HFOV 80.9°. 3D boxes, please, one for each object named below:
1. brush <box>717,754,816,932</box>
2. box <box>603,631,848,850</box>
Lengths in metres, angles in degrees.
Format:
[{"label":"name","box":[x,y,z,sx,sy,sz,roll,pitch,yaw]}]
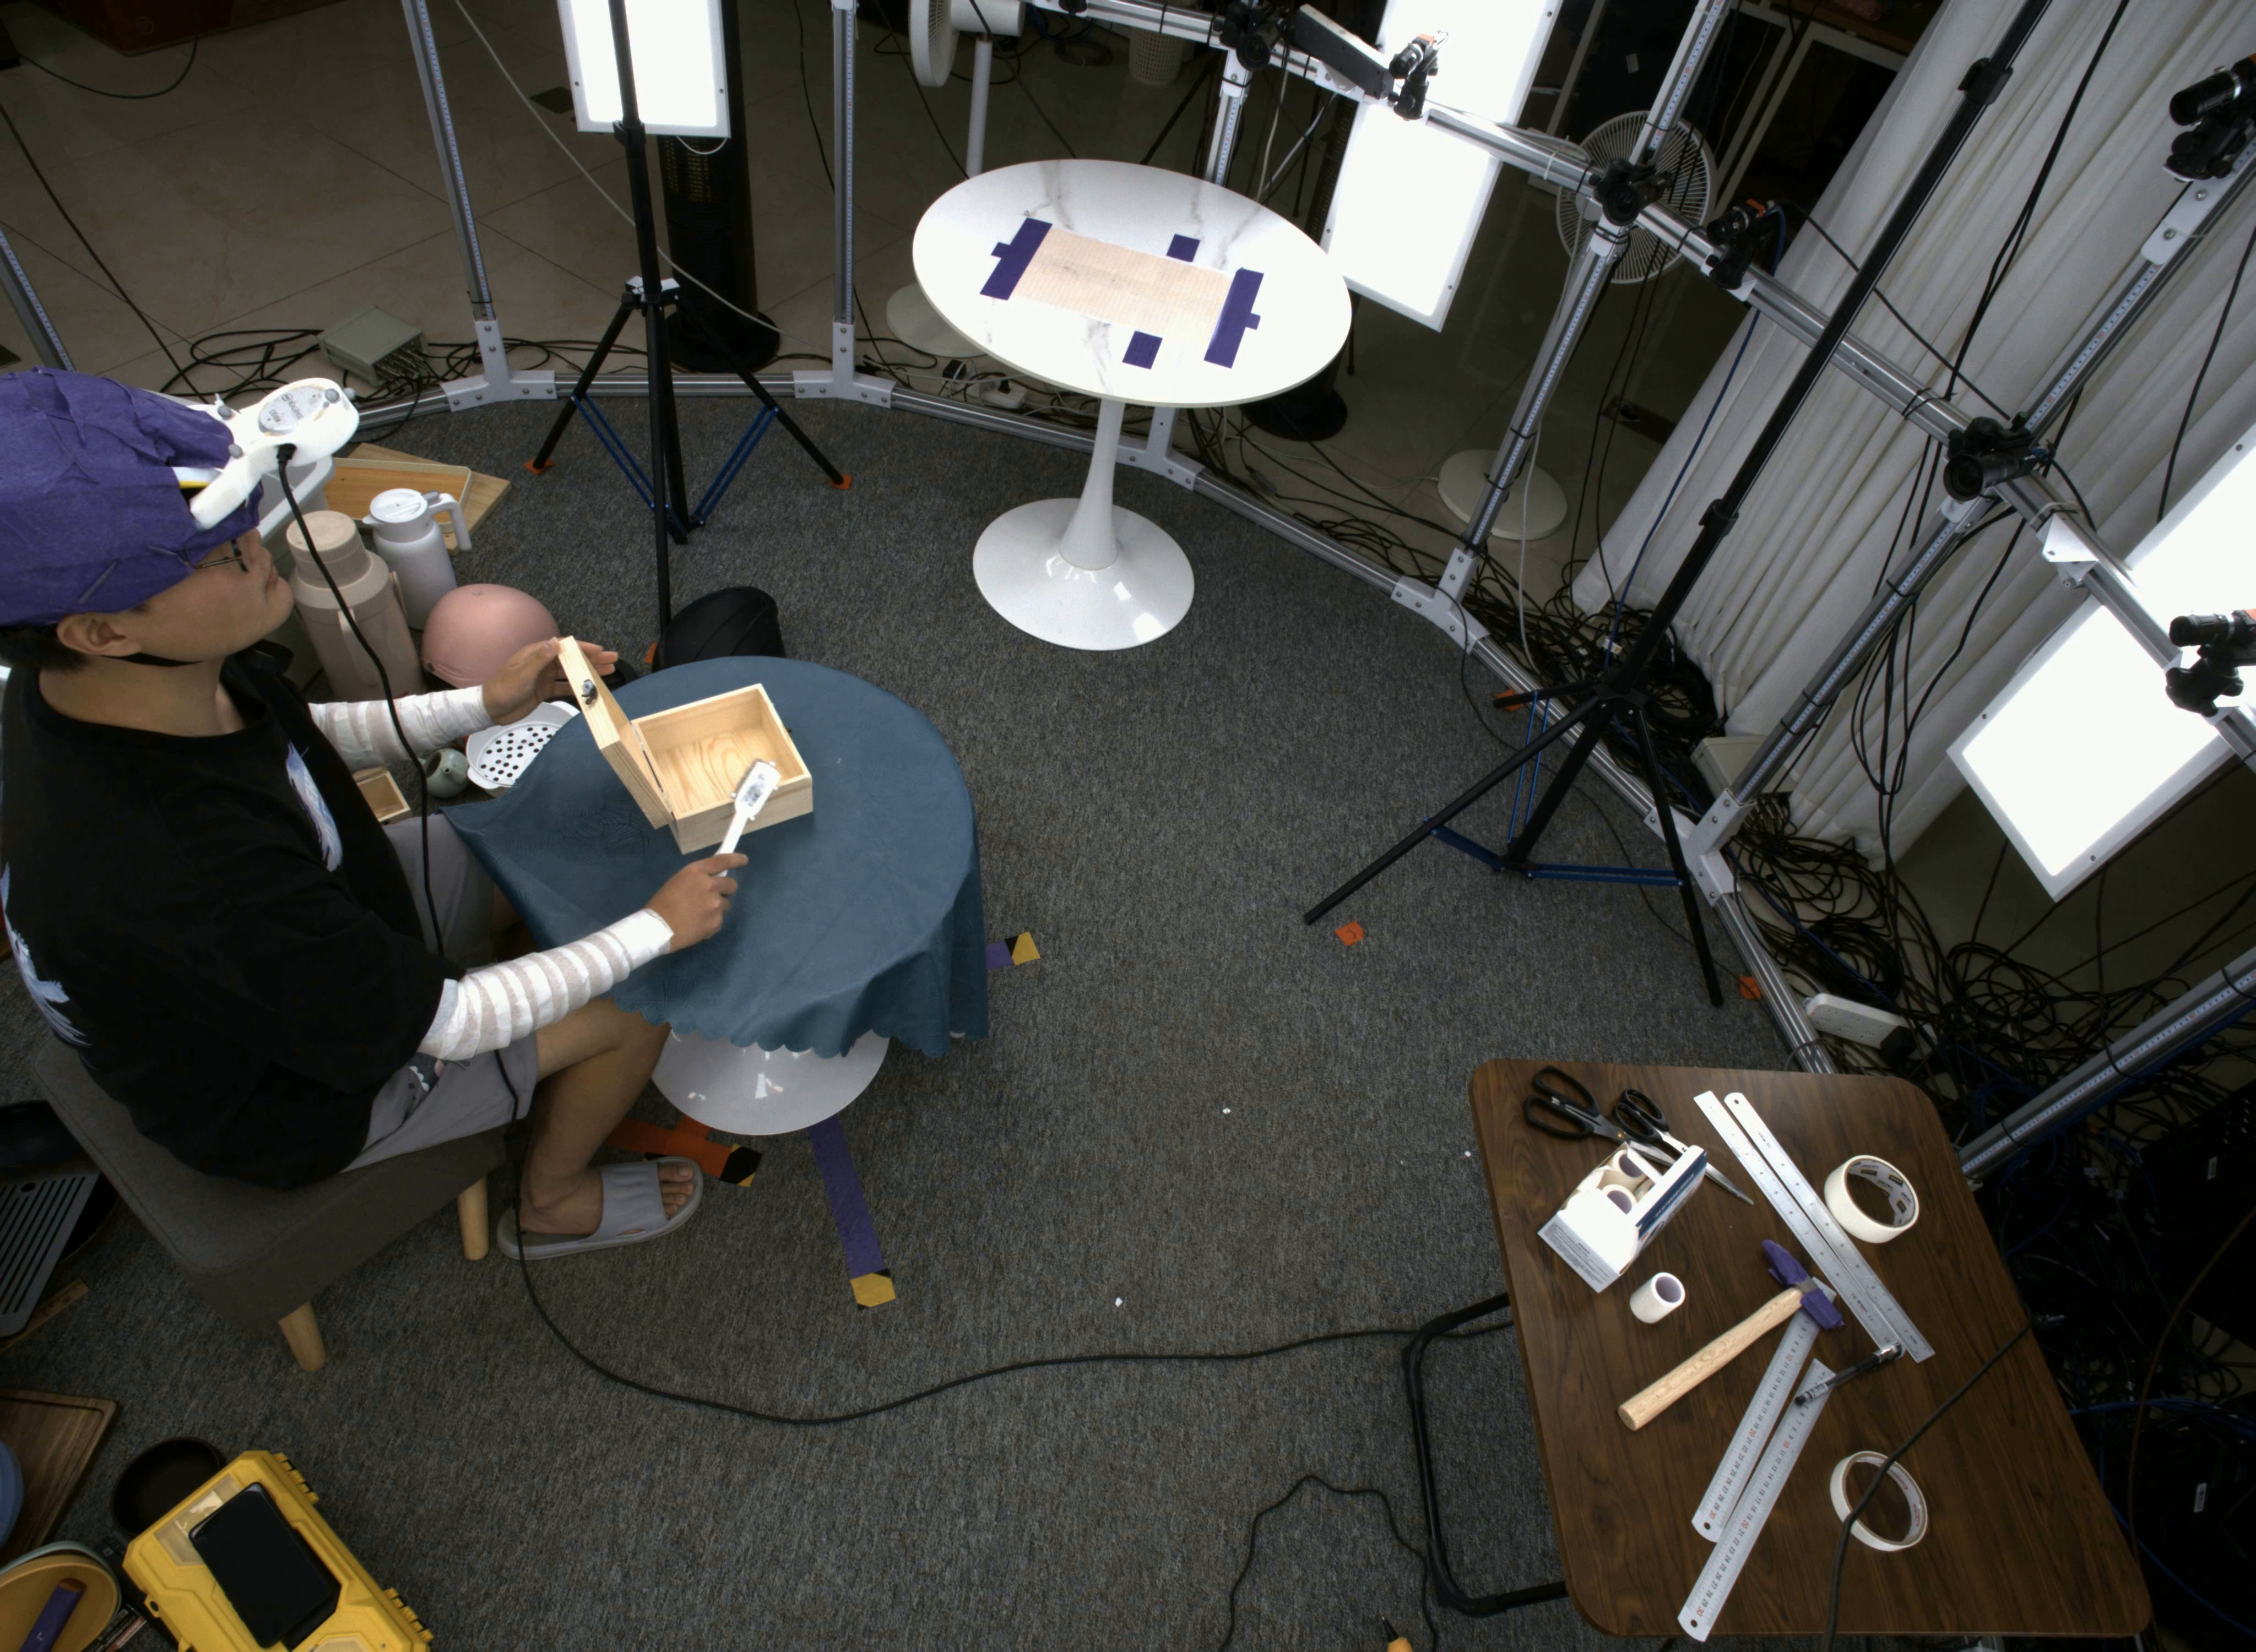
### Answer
[{"label":"brush","box":[-0.457,0.019,1.616,0.035,0.049,0.243,34,70,-32]},{"label":"box","box":[-0.510,-0.129,1.649,0.266,0.258,0.177,-20,61,-25]}]
